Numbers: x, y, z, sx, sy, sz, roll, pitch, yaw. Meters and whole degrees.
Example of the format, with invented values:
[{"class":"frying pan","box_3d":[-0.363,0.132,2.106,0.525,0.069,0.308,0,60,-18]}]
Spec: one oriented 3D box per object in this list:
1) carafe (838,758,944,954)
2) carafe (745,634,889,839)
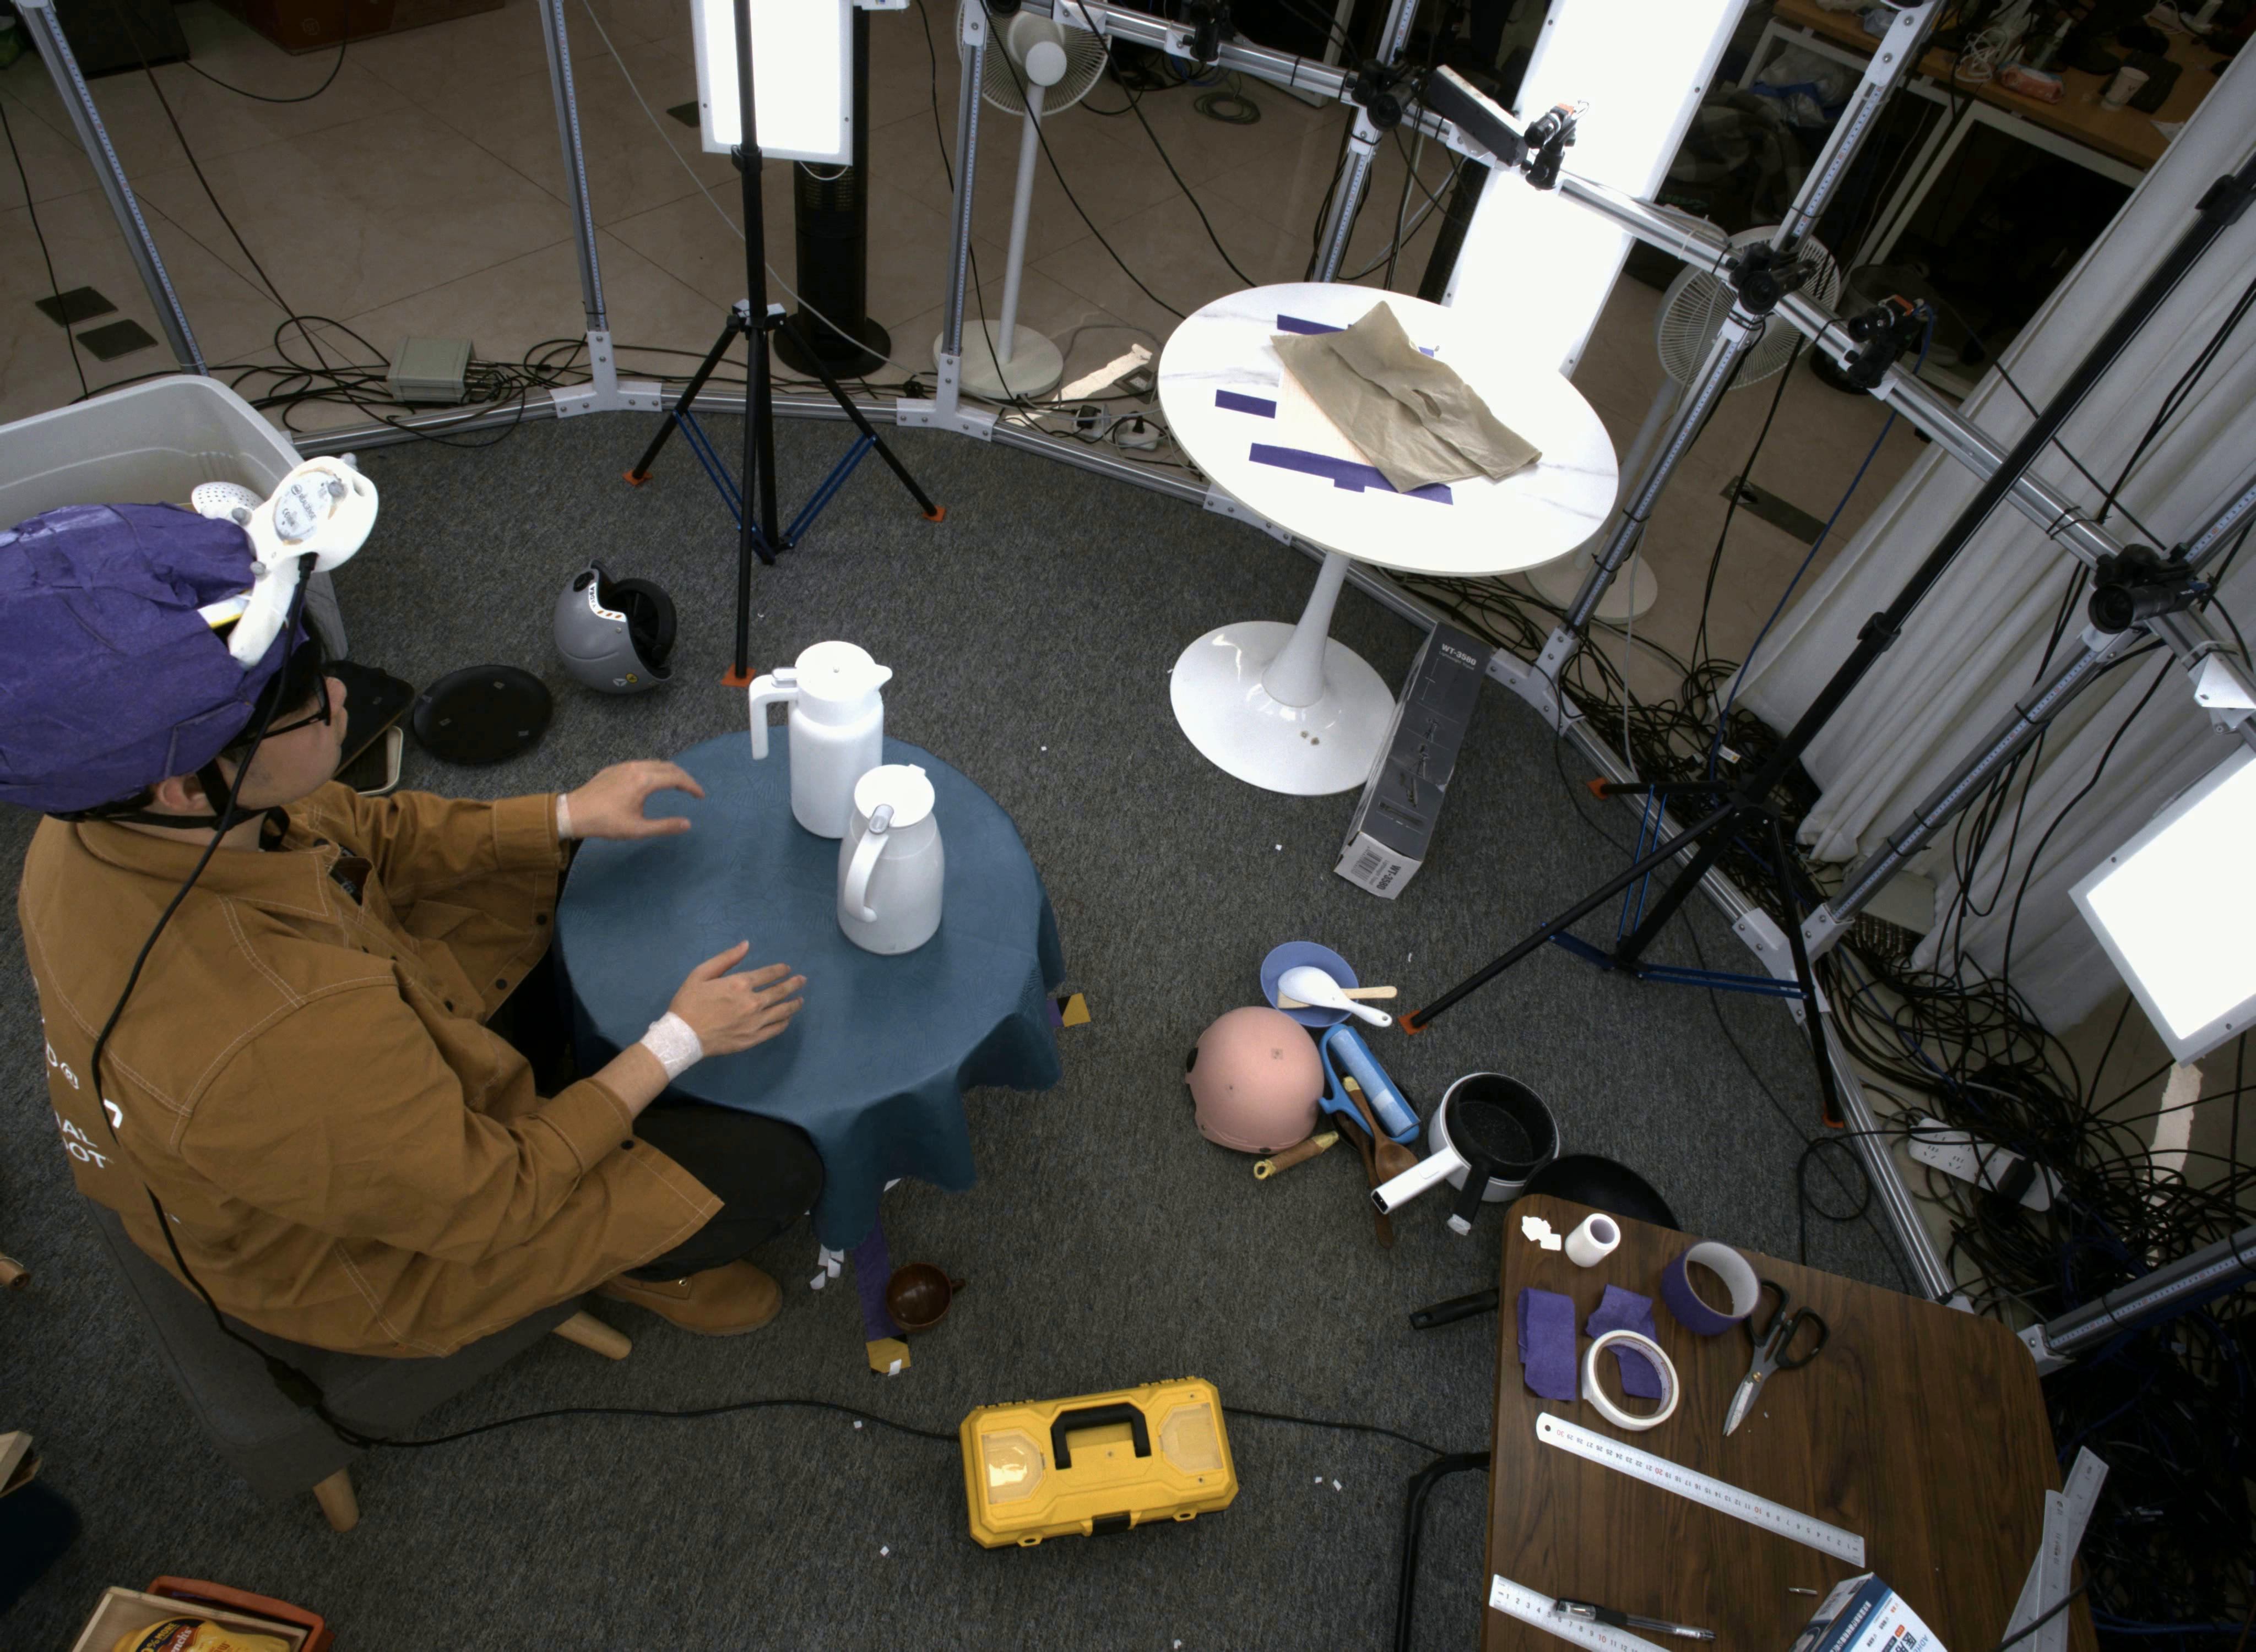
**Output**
[{"class":"carafe","box_3d":[-0.292,0.044,1.561,0.131,0.254,0.166,21,52,5]},{"class":"carafe","box_3d":[-0.389,-0.107,1.638,0.173,0.274,0.121,-7,56,-17]}]
